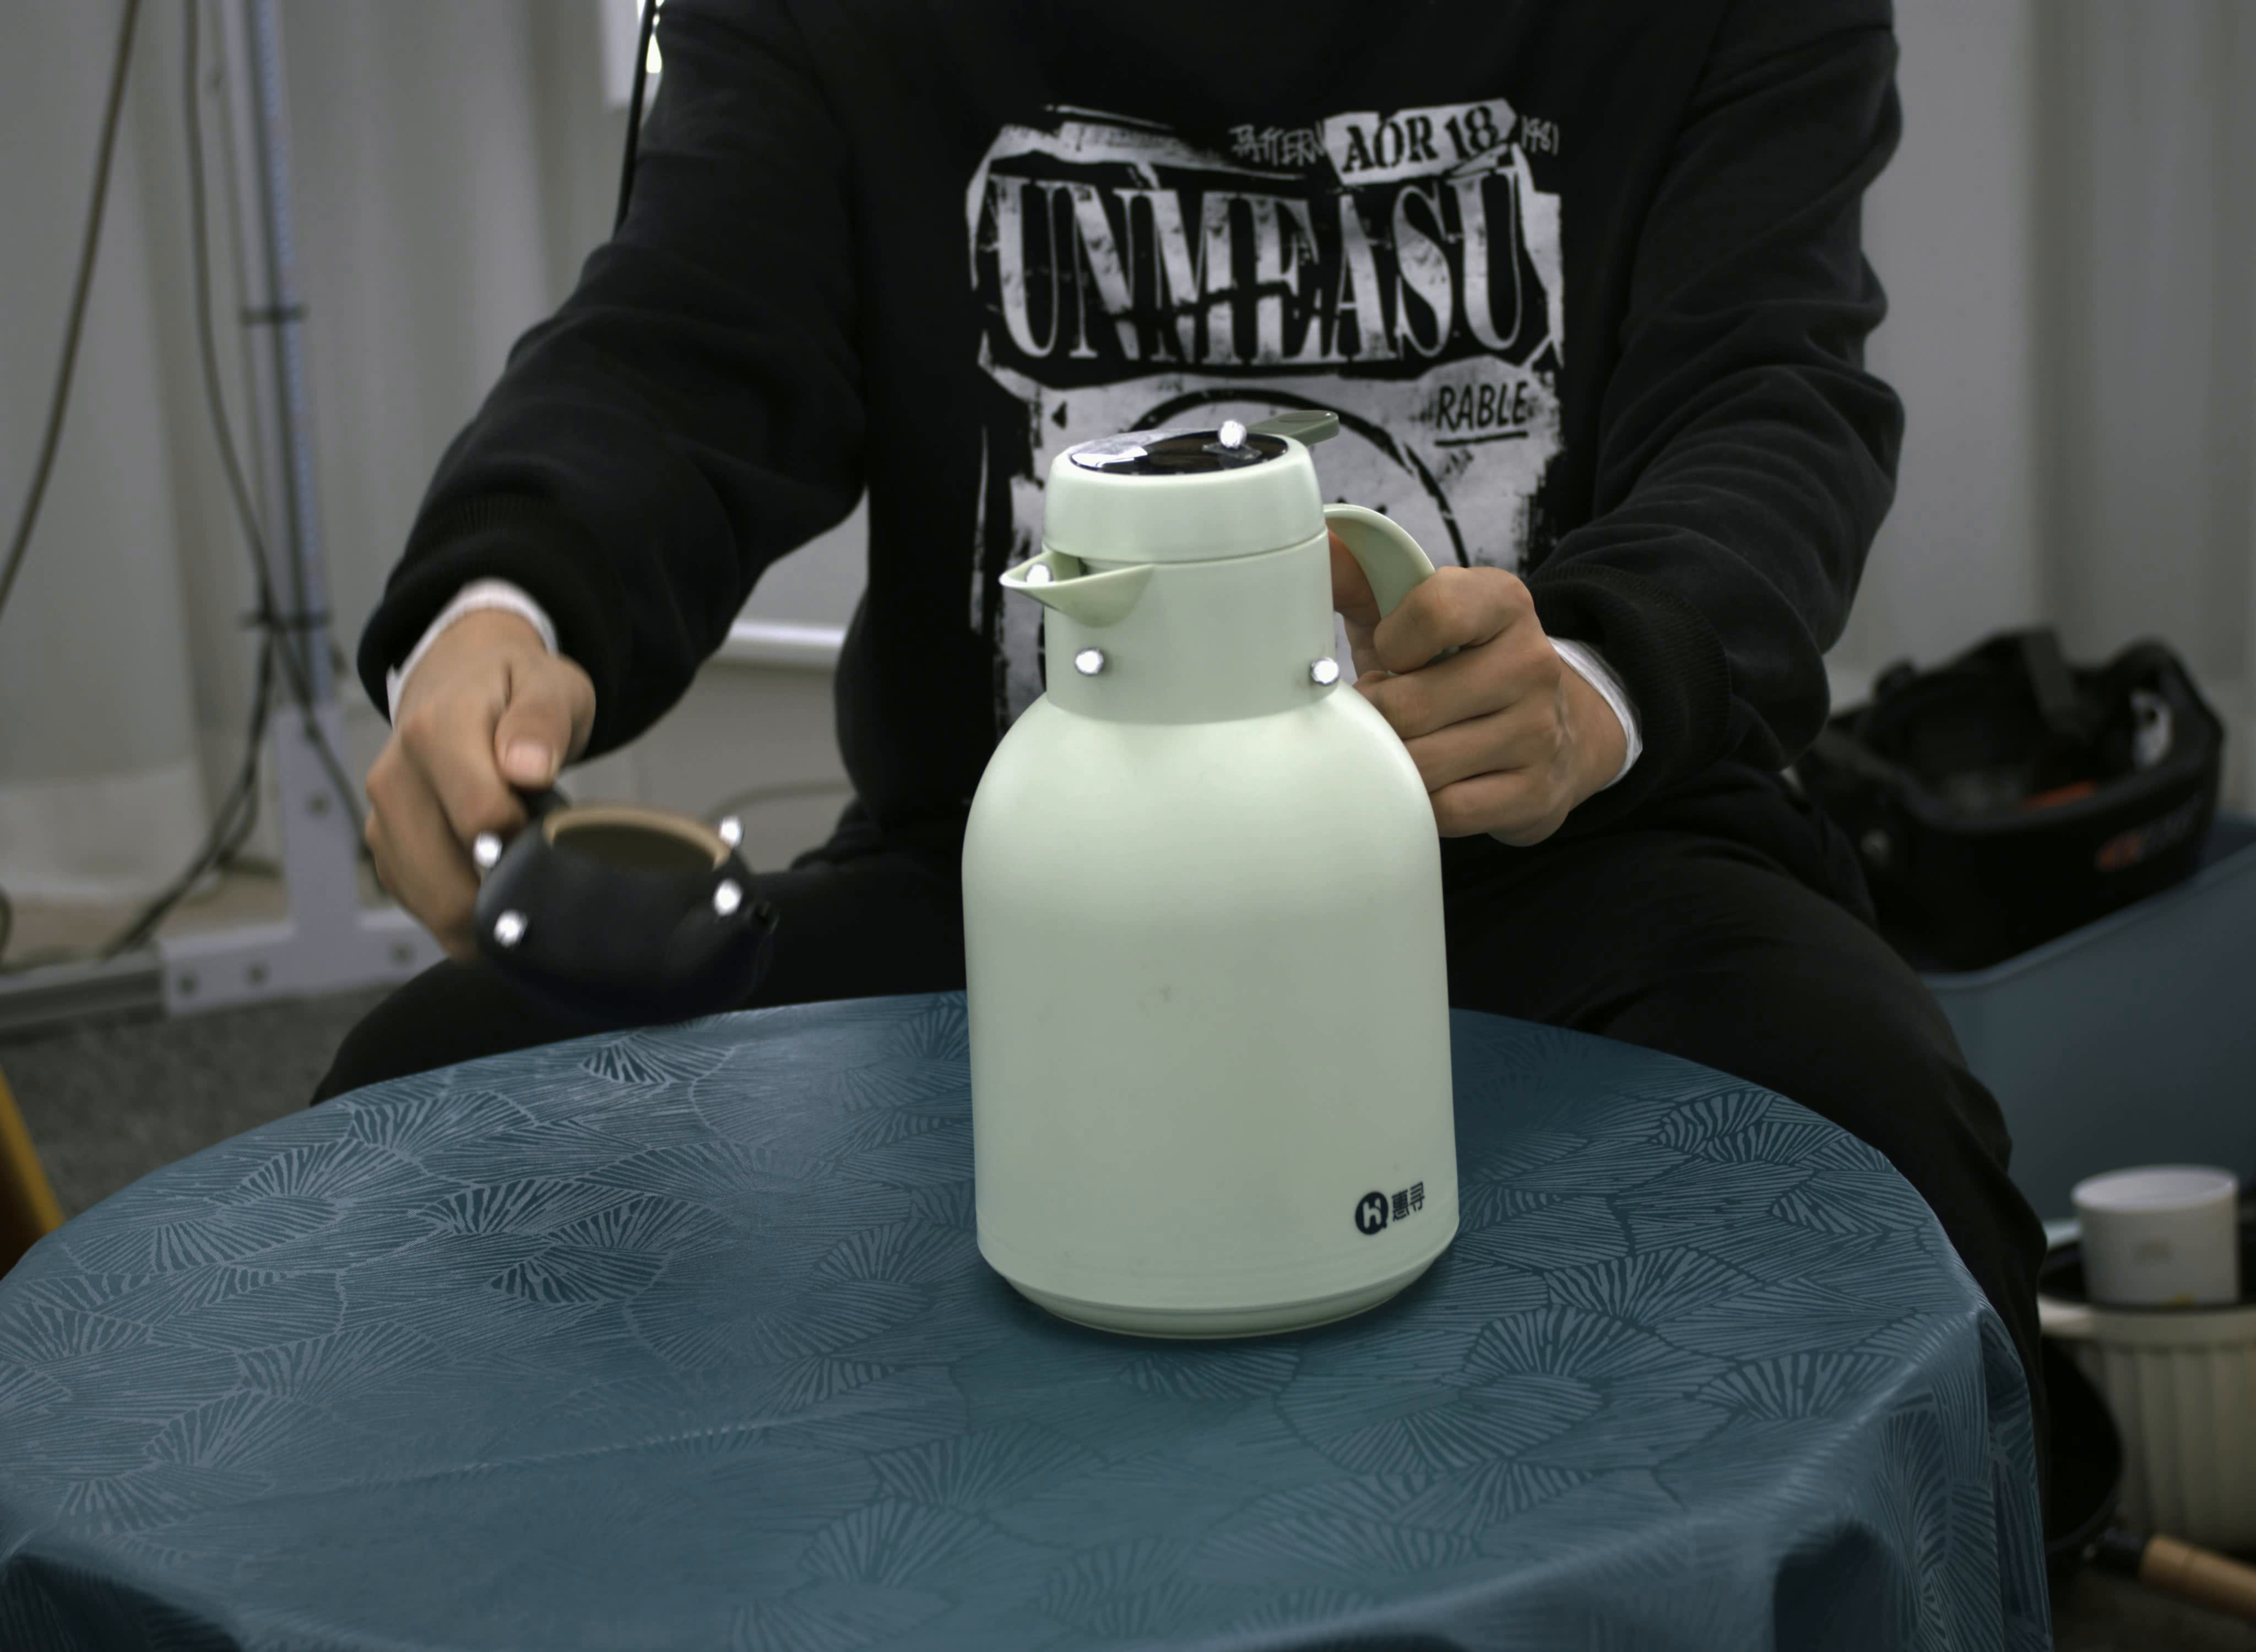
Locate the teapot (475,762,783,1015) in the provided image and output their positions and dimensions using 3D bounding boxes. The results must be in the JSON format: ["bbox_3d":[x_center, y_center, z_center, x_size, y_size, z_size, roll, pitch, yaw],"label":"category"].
[{"bbox_3d":[-0.151,0.023,1.645,0.090,0.053,0.134,-5,24,-44],"label":"teapot"}]

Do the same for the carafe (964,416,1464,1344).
[{"bbox_3d":[0.032,0.011,1.617,0.145,0.256,0.186,7,13,40],"label":"carafe"}]
